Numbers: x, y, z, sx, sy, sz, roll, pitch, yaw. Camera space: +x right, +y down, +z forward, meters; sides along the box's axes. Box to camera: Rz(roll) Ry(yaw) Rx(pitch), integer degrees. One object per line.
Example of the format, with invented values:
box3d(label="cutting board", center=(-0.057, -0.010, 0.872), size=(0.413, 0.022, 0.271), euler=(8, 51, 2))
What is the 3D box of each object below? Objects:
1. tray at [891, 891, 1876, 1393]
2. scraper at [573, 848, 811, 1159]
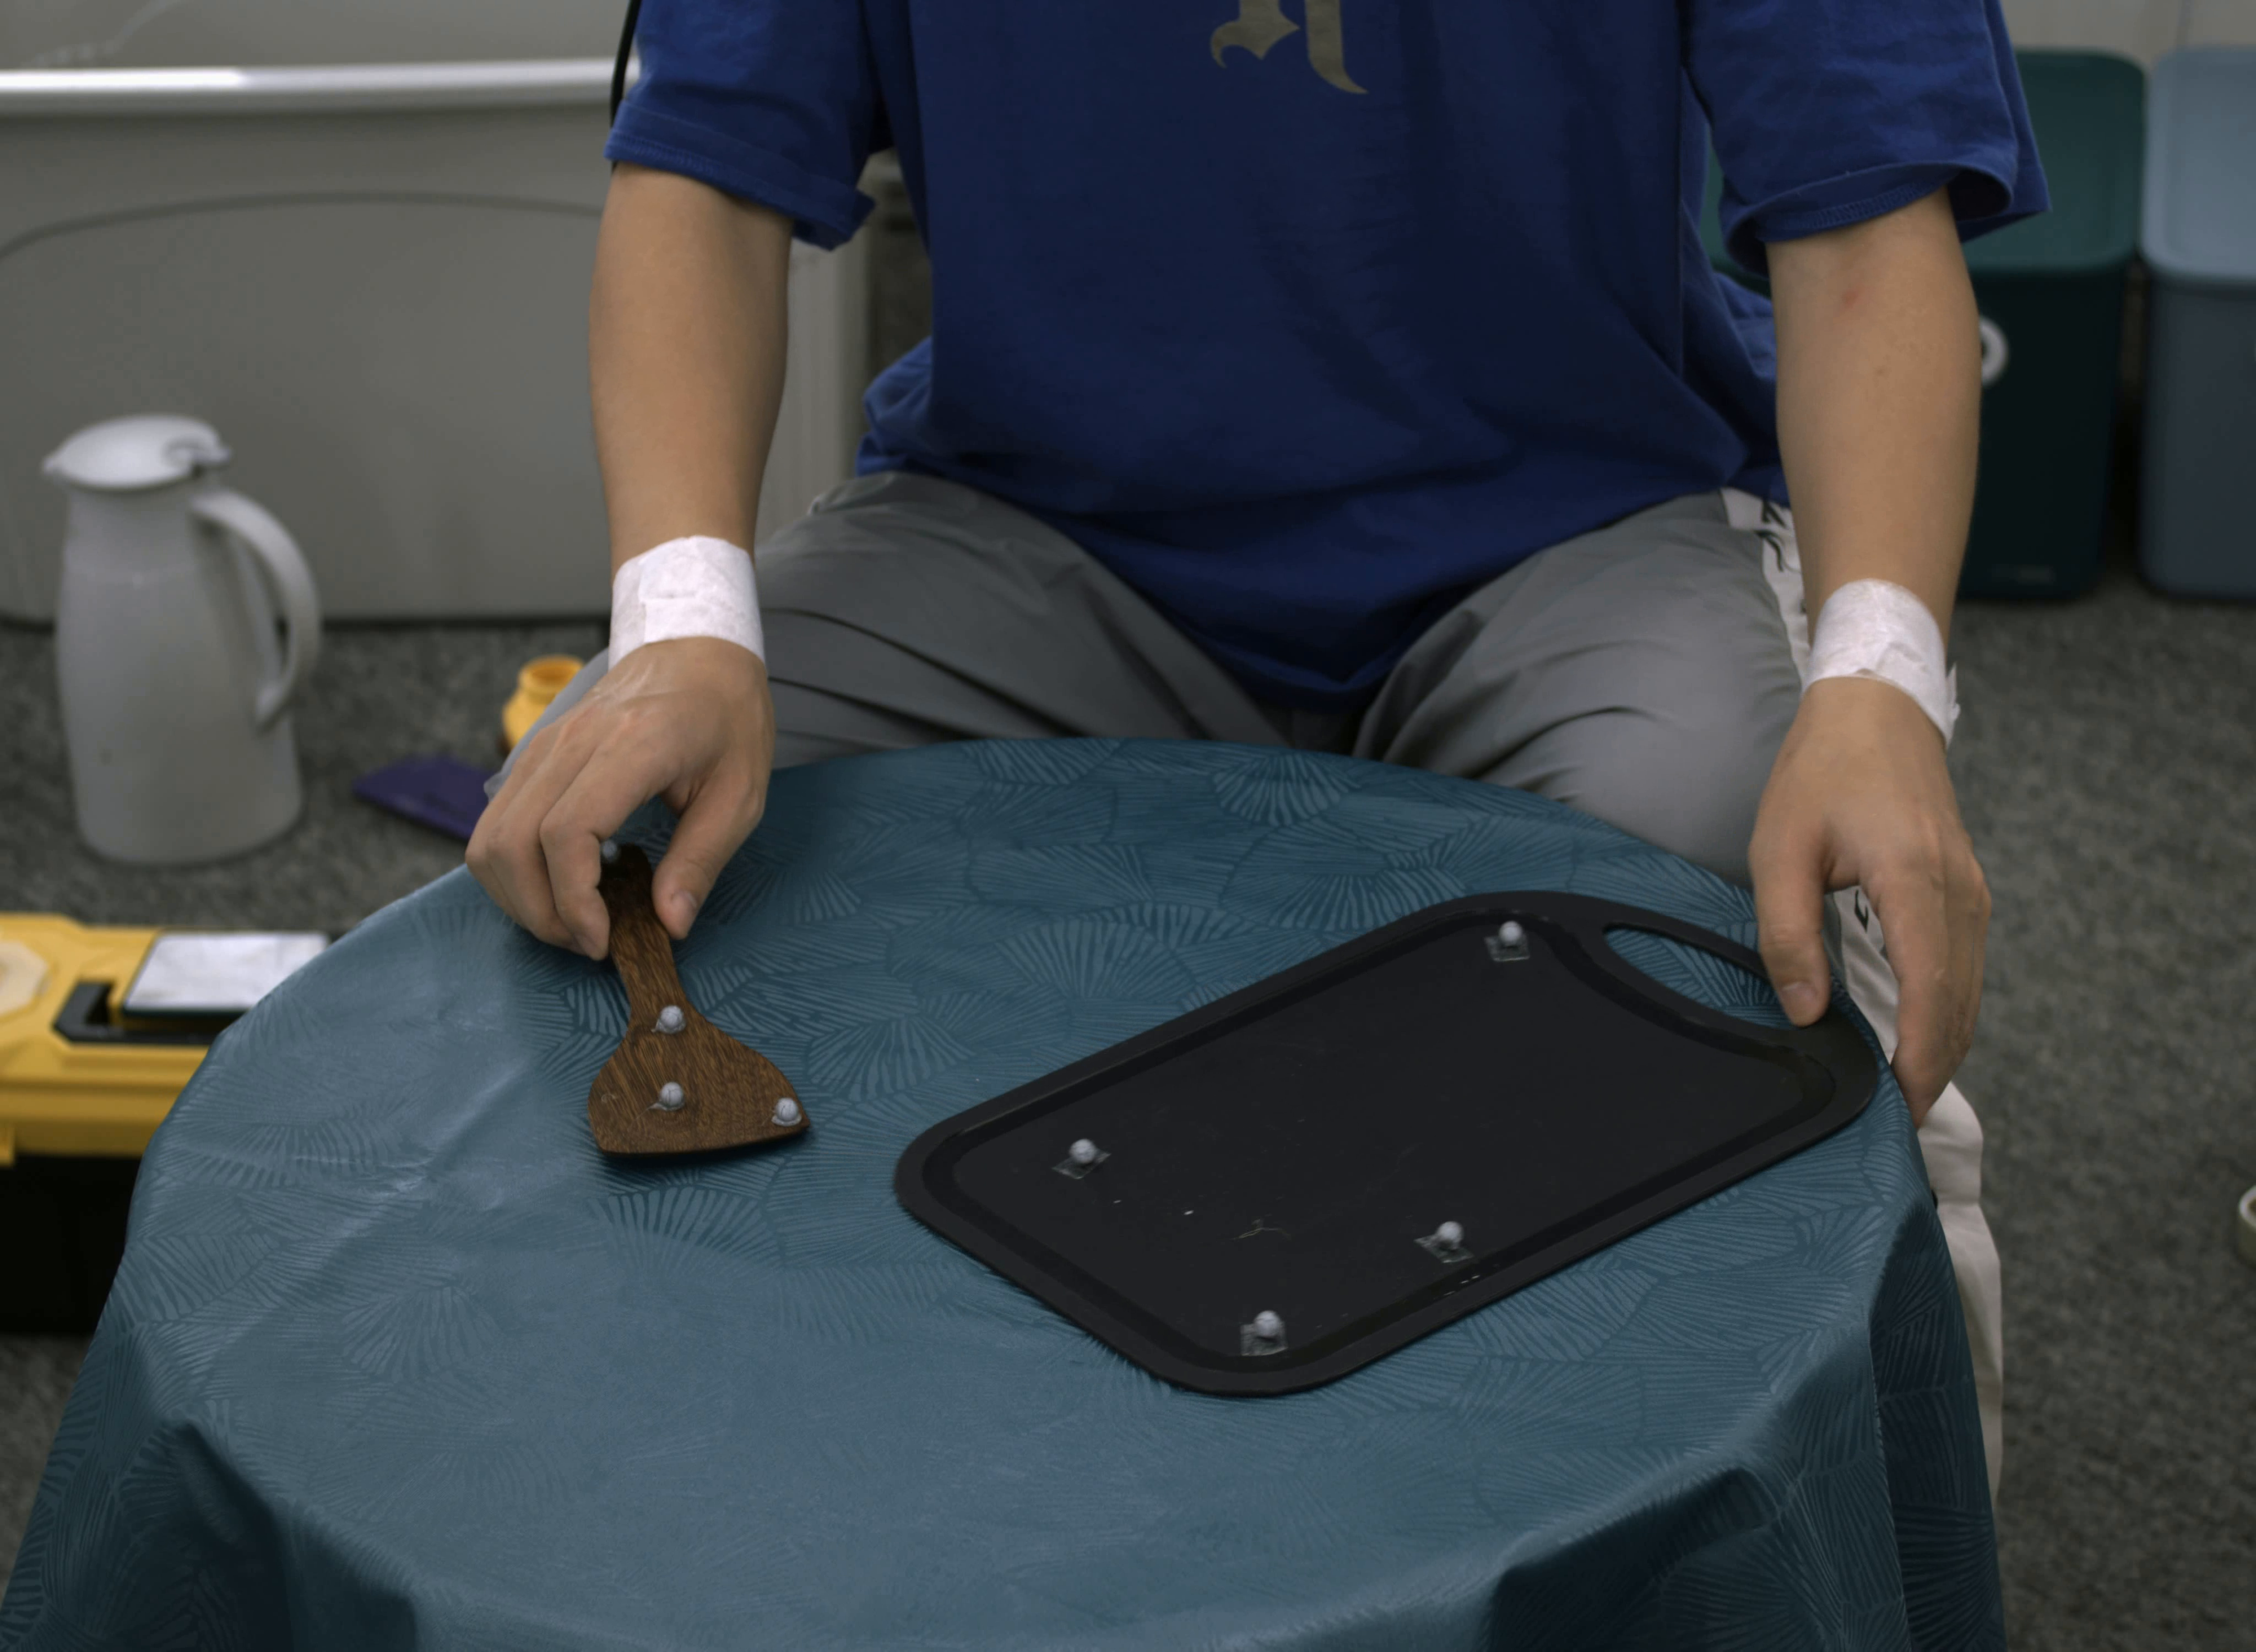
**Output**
box3d(label="tray", center=(0.093, 0.096, 1.894), size=(0.328, 0.009, 0.211), euler=(-22, 33, -32))
box3d(label="scraper", center=(-0.166, 0.061, 1.974), size=(0.076, 0.010, 0.214), euler=(-5, 30, -13))
